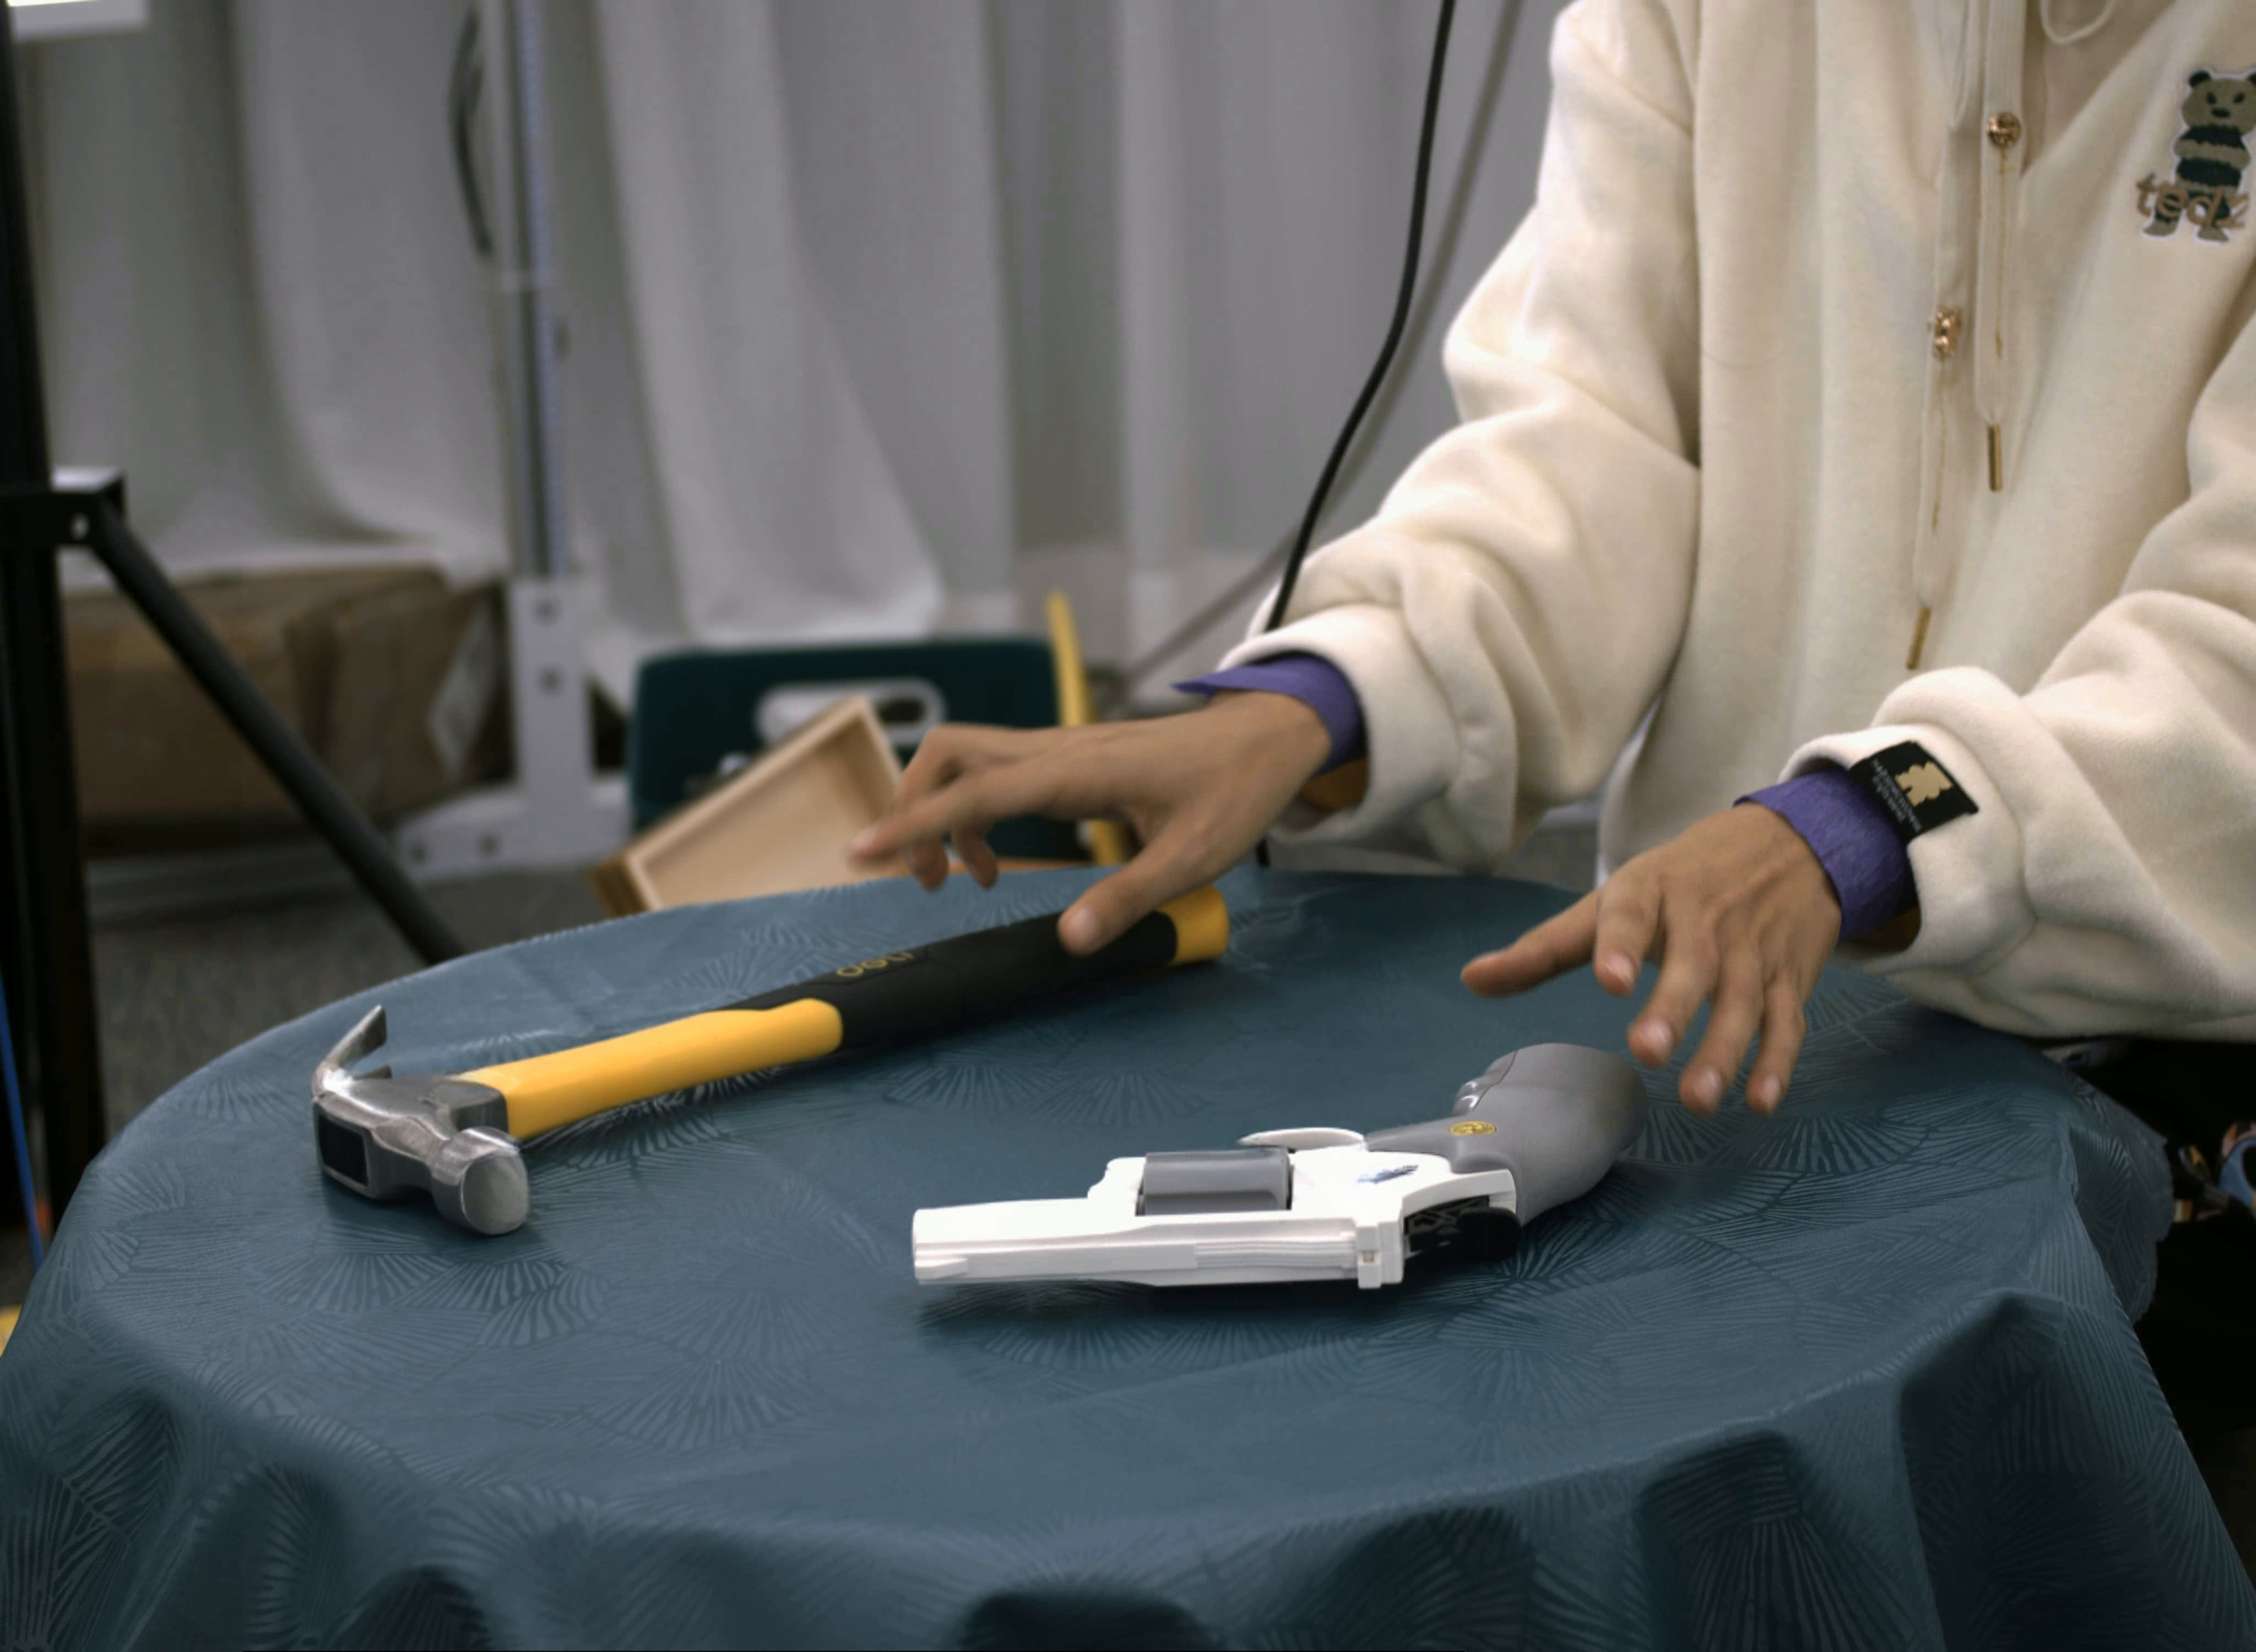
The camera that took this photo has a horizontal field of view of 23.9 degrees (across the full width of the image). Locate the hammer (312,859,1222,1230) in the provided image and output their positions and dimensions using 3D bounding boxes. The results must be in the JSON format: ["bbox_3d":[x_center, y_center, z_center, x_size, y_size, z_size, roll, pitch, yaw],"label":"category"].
[{"bbox_3d":[-0.105,0.059,1.681,0.331,0.032,0.134,-16,18,-36],"label":"hammer"}]

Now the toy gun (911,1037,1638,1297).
[{"bbox_3d":[0.045,0.100,1.507,0.208,0.039,0.142,-2,17,3],"label":"toy gun"}]
